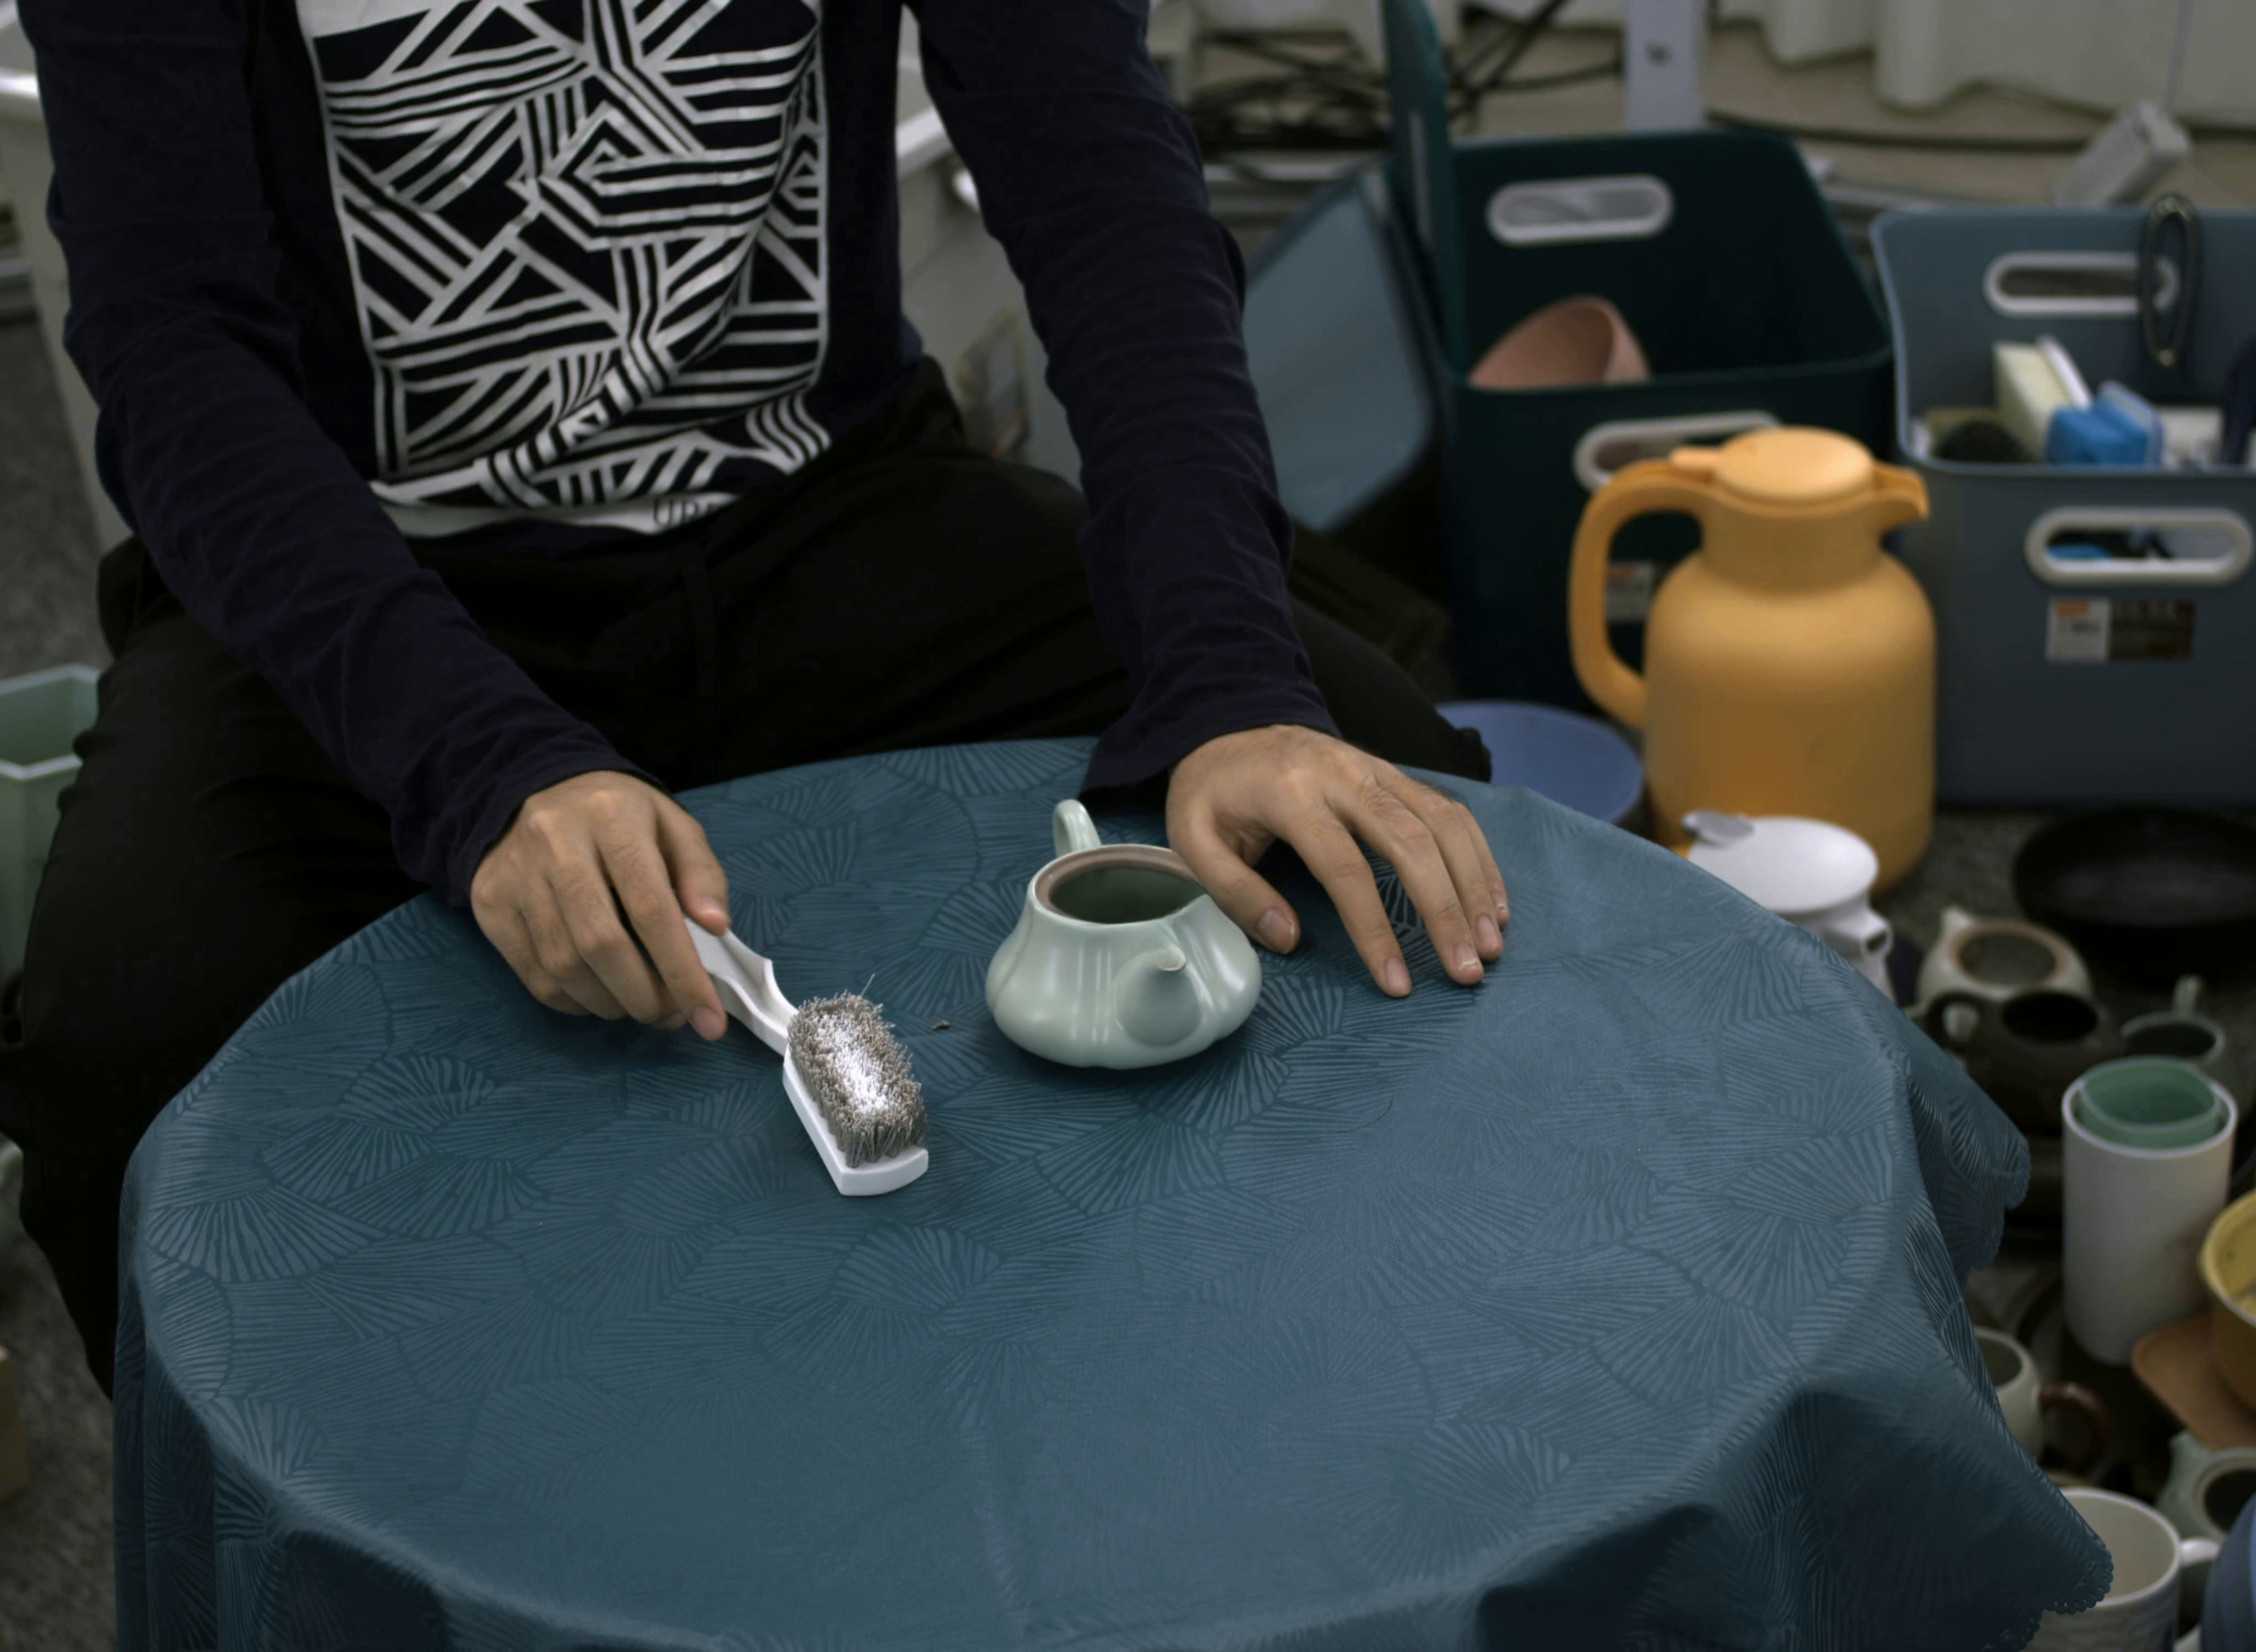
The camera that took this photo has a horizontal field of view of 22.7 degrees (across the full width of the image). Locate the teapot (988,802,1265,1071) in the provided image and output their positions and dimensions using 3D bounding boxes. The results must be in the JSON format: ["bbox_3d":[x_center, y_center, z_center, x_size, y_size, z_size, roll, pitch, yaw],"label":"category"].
[{"bbox_3d":[-0.003,0.042,1.949,0.096,0.061,0.138,-14,30,-15],"label":"teapot"}]

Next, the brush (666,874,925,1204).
[{"bbox_3d":[-0.121,0.056,1.946,0.034,0.049,0.246,-17,30,-13],"label":"brush"}]
